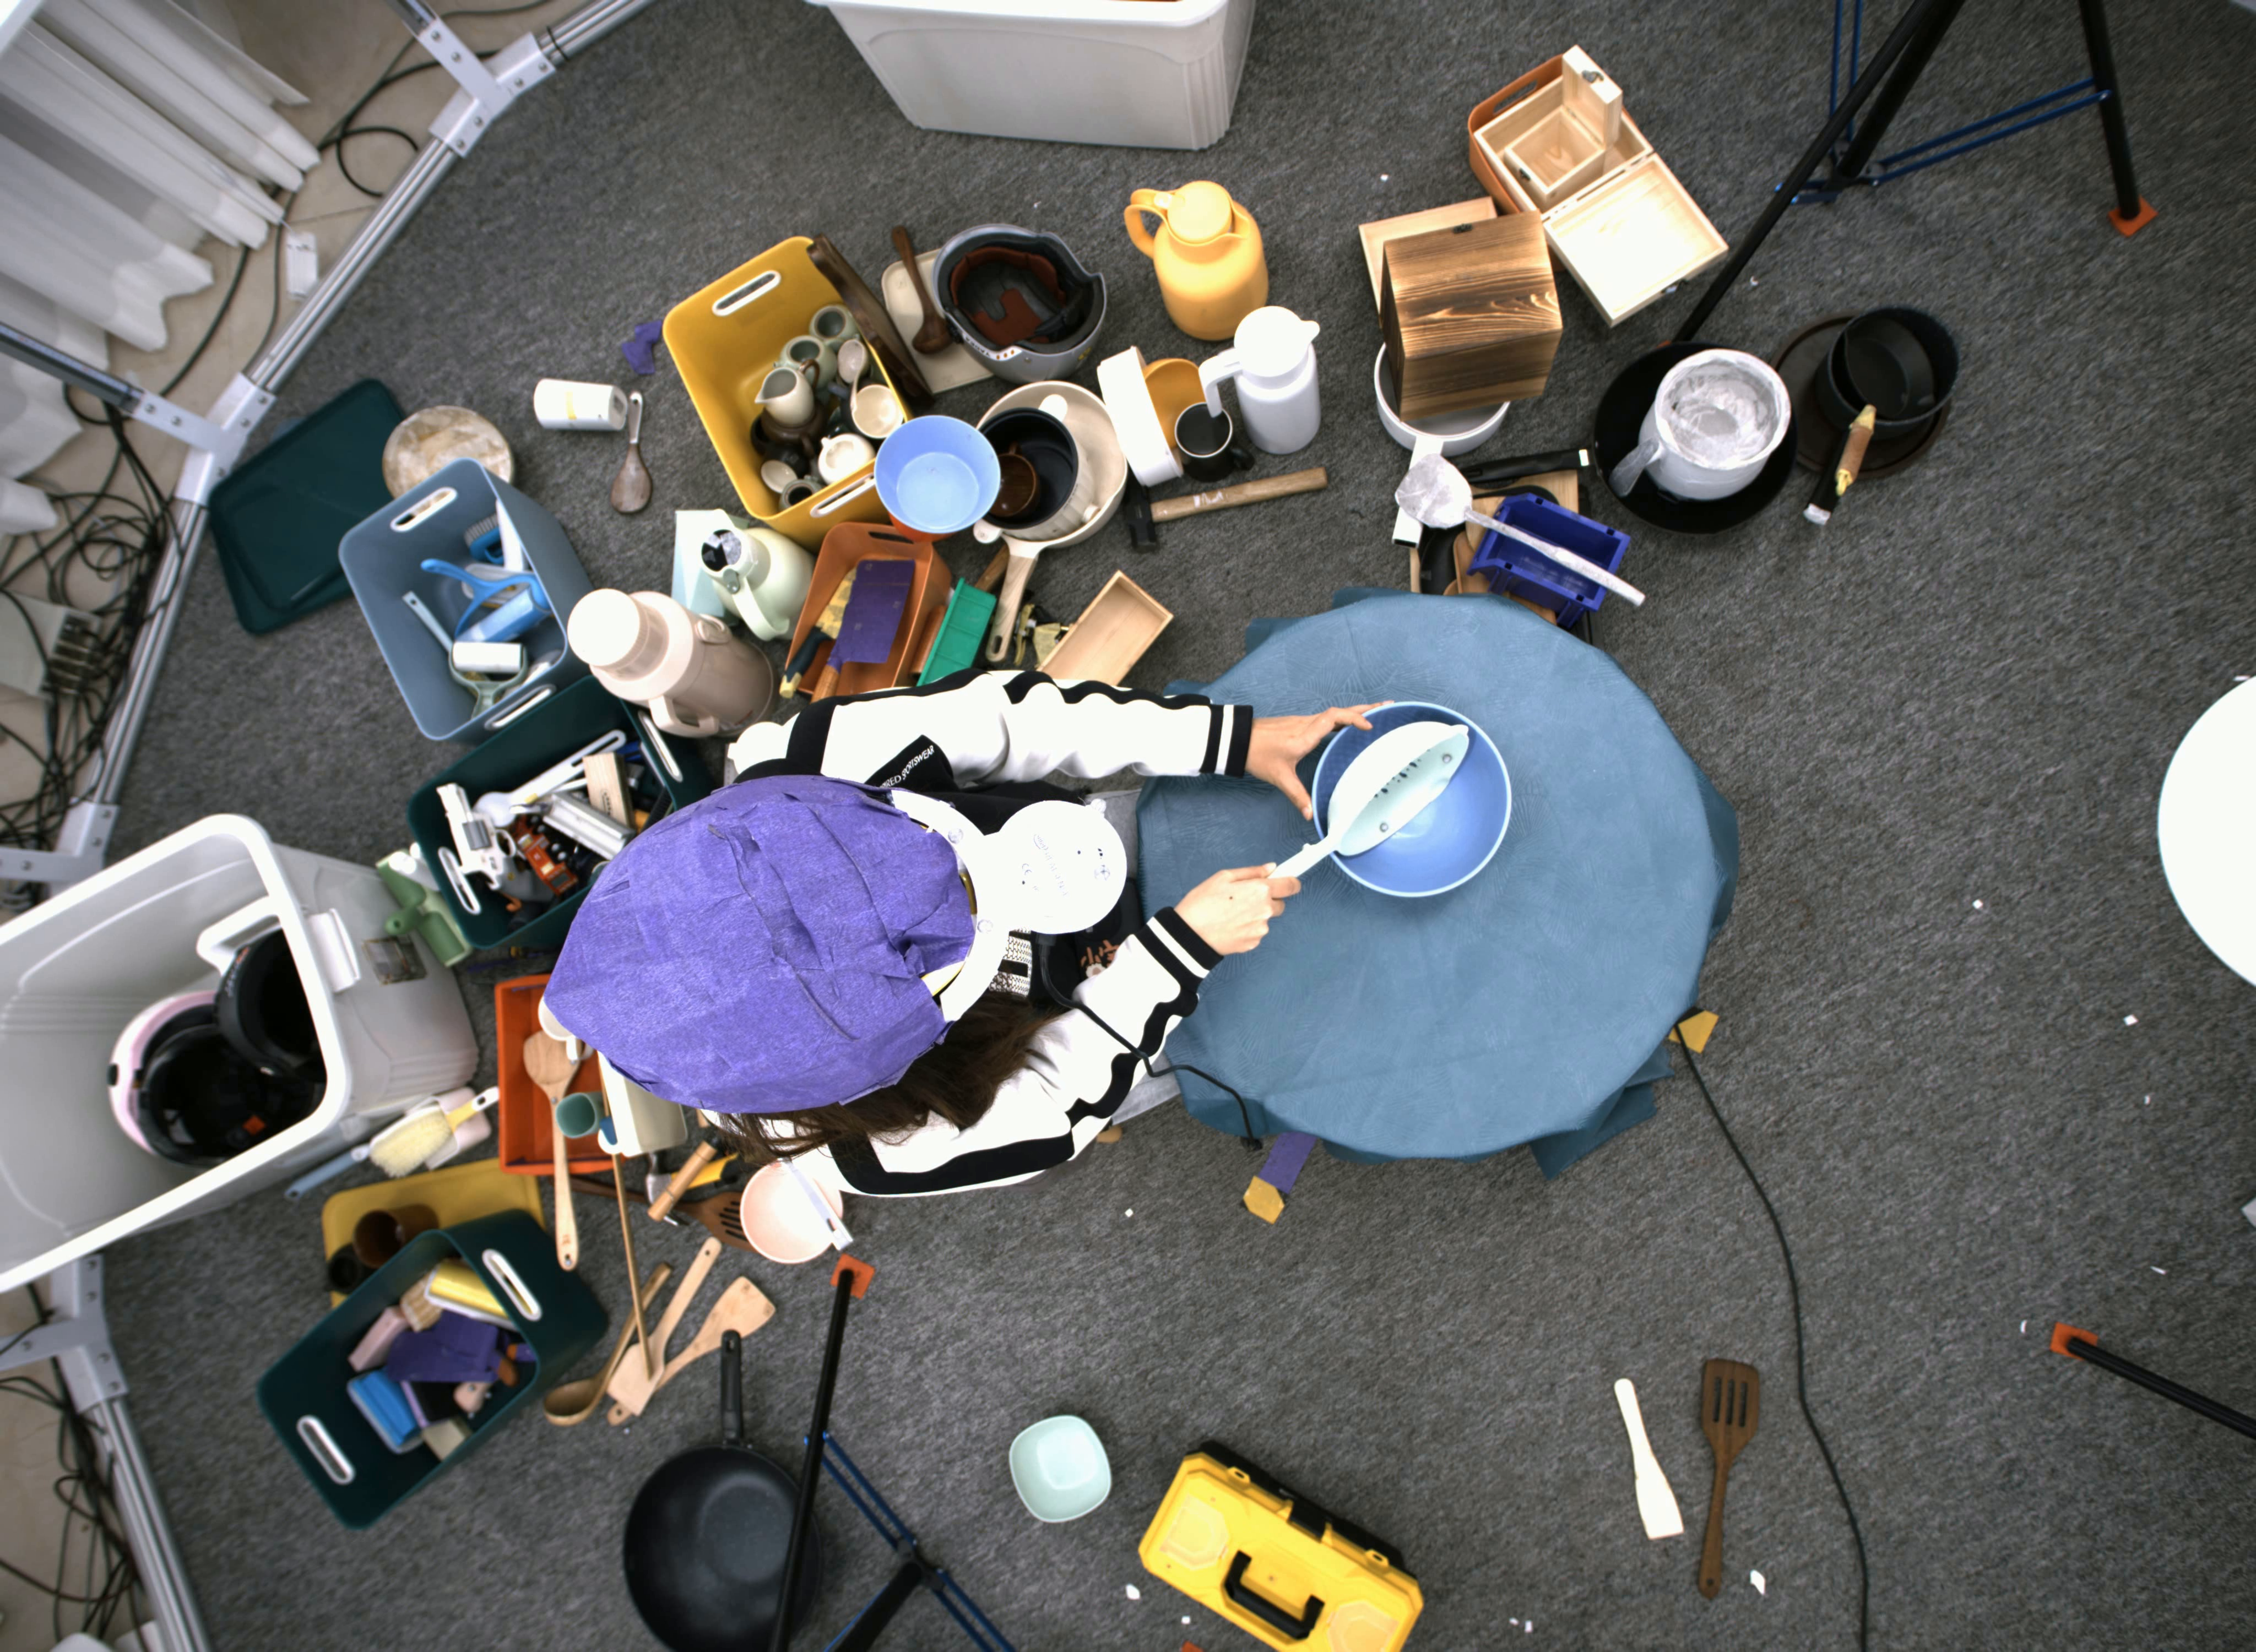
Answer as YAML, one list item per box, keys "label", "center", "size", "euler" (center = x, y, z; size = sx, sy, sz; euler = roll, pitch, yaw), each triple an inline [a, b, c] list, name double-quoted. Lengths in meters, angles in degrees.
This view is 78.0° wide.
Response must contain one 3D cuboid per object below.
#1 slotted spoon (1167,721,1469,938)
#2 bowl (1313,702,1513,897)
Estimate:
- label: "slotted spoon"
  center: [0.190, 0.012, 1.353]
  size: [0.354, 0.172, 0.075]
  euler: [-42, 70, -16]
- label: "bowl"
  center: [0.290, -0.024, 1.414]
  size: [0.197, 0.095, 0.195]
  euler: [-1, 87, 10]
